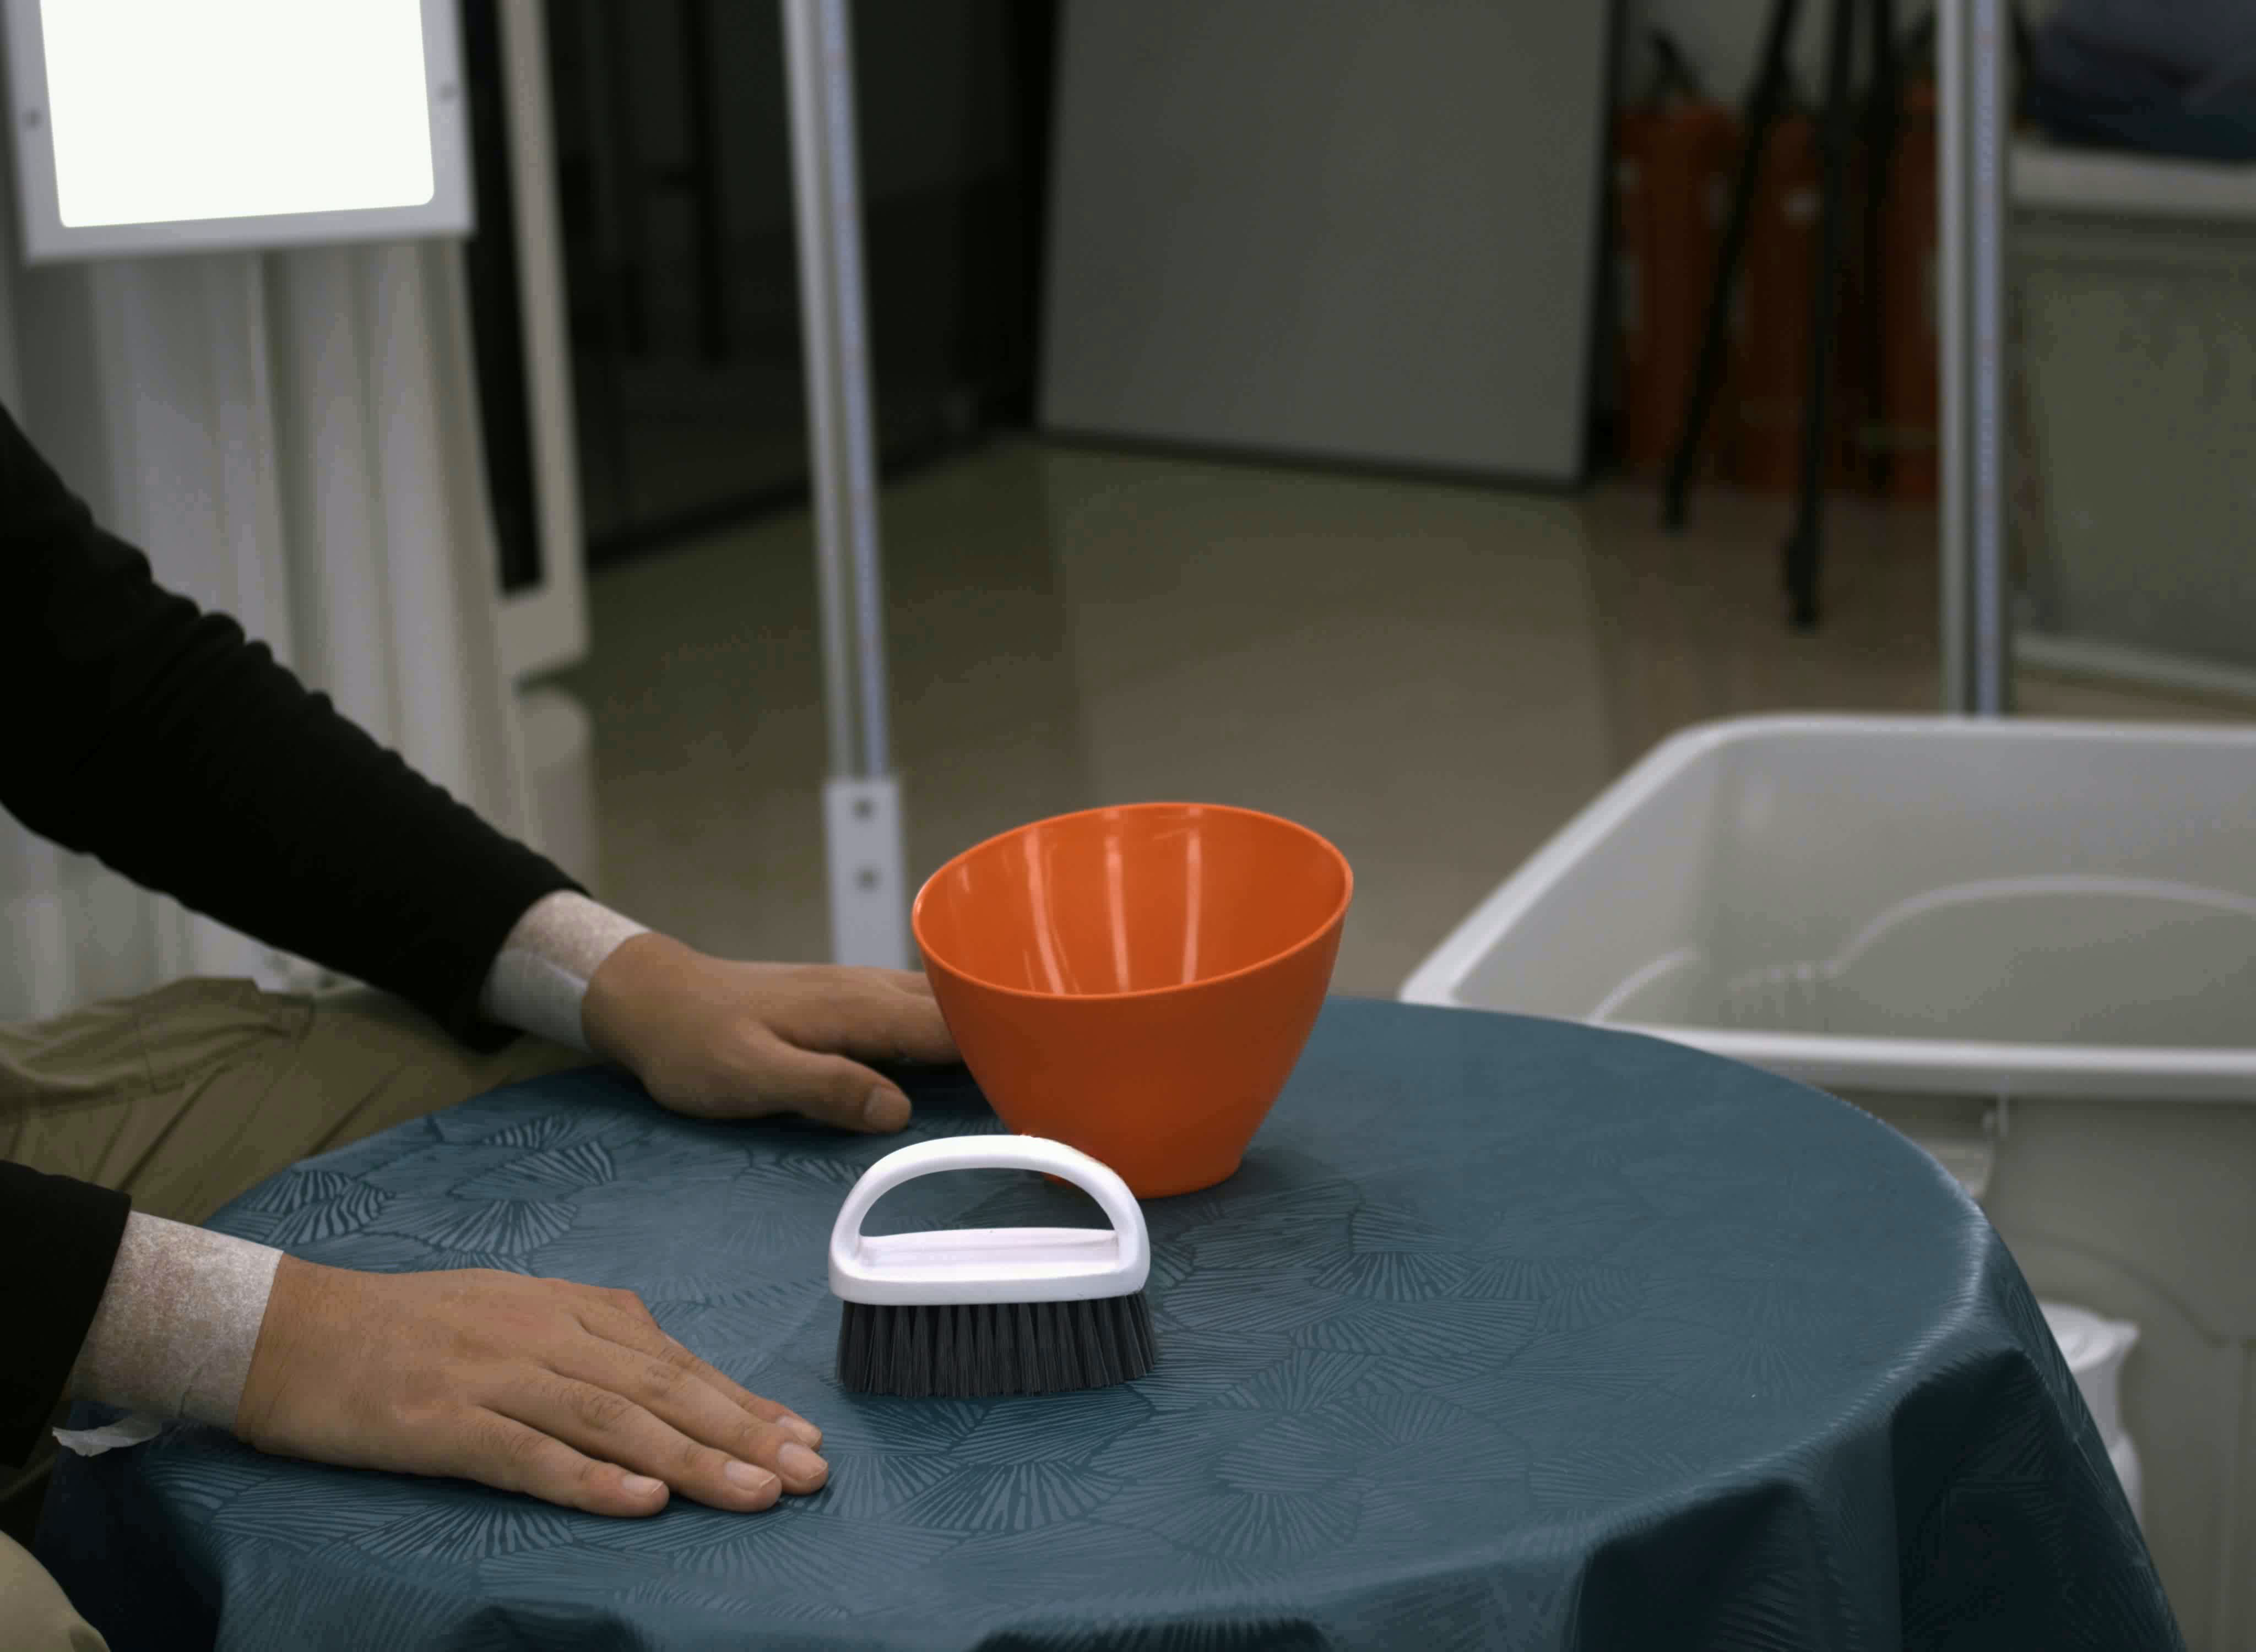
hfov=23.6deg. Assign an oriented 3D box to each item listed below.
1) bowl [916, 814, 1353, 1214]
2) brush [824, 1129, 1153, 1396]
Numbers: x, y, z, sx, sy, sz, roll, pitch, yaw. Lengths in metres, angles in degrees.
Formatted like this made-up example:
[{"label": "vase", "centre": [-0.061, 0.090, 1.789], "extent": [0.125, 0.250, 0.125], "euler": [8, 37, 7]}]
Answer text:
[{"label": "bowl", "centre": [0.005, 0.066, 1.789], "extent": [0.146, 0.106, 0.148], "euler": [-5, 14, 0]}, {"label": "brush", "centre": [-0.043, 0.126, 1.605], "extent": [0.098, 0.073, 0.050], "euler": [-2, 14, 9]}]
